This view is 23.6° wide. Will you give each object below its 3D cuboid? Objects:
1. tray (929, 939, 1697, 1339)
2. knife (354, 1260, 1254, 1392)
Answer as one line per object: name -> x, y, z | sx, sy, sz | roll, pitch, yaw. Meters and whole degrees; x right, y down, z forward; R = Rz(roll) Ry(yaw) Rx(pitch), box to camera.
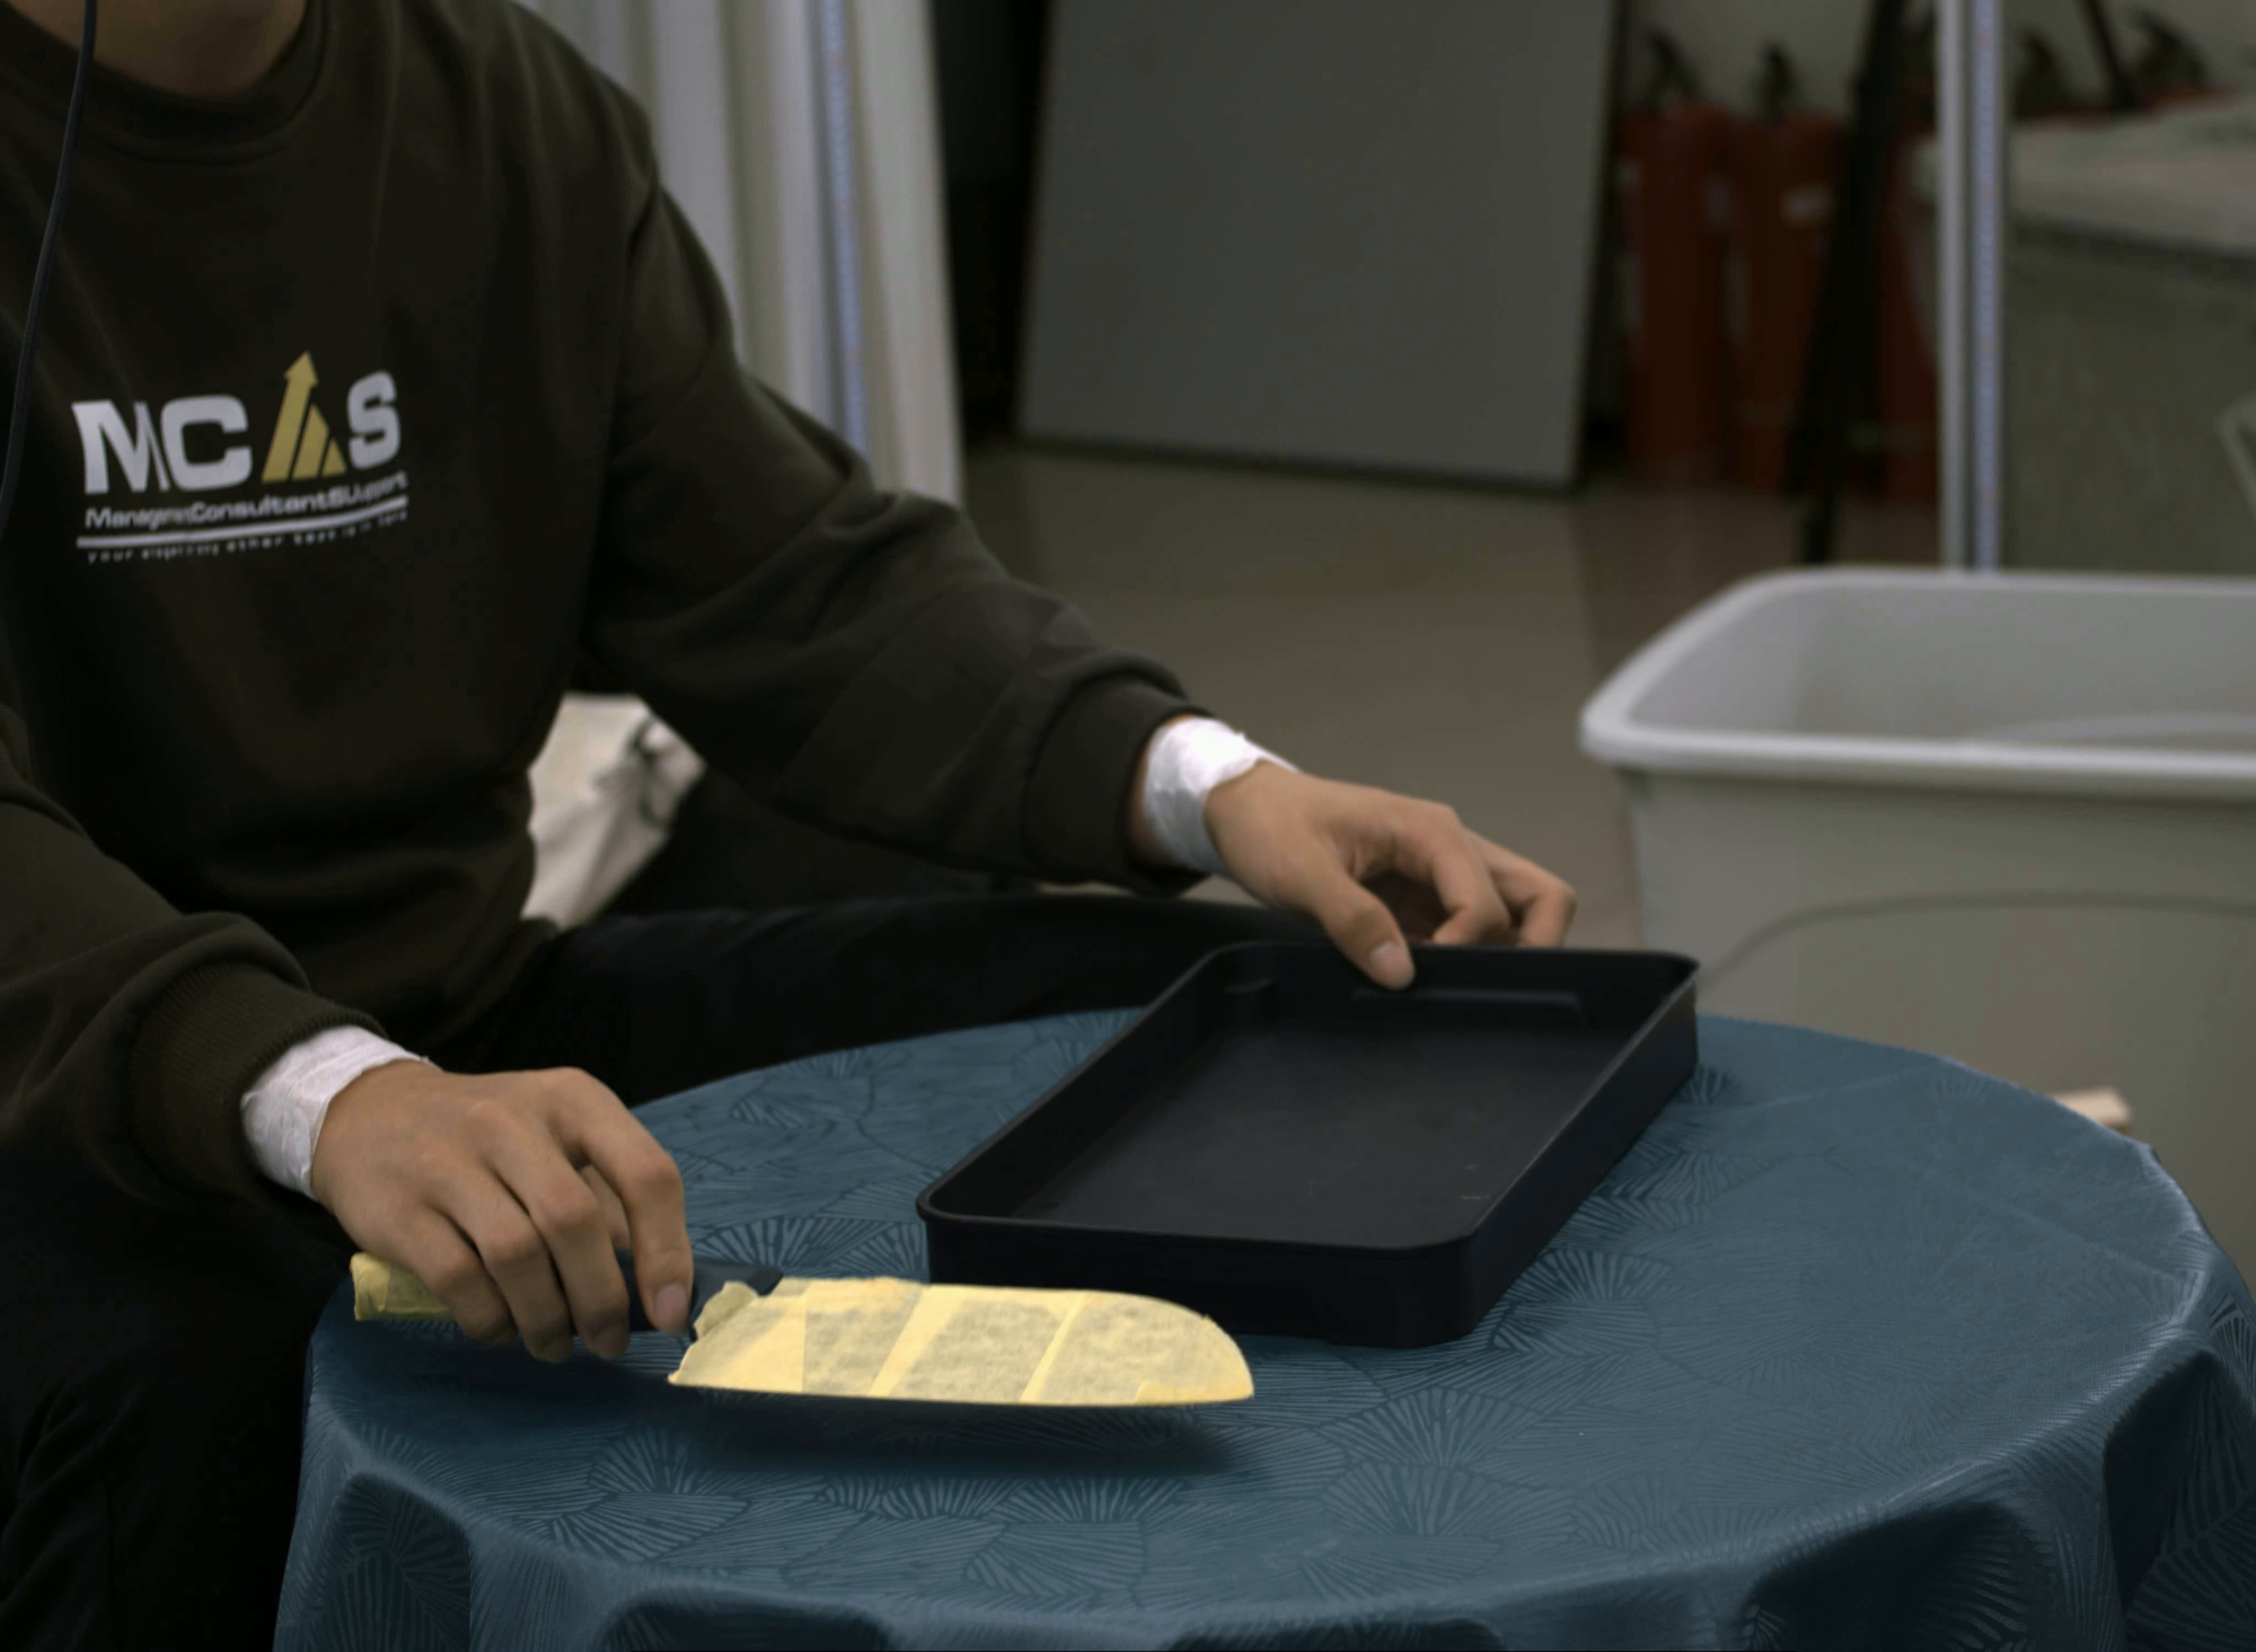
tray -> 0.070, 0.097, 1.772 | 0.184, 0.037, 0.315 | 0, 15, 20
knife -> -0.100, 0.148, 1.577 | 0.289, 0.027, 0.080 | 0, 19, 19
